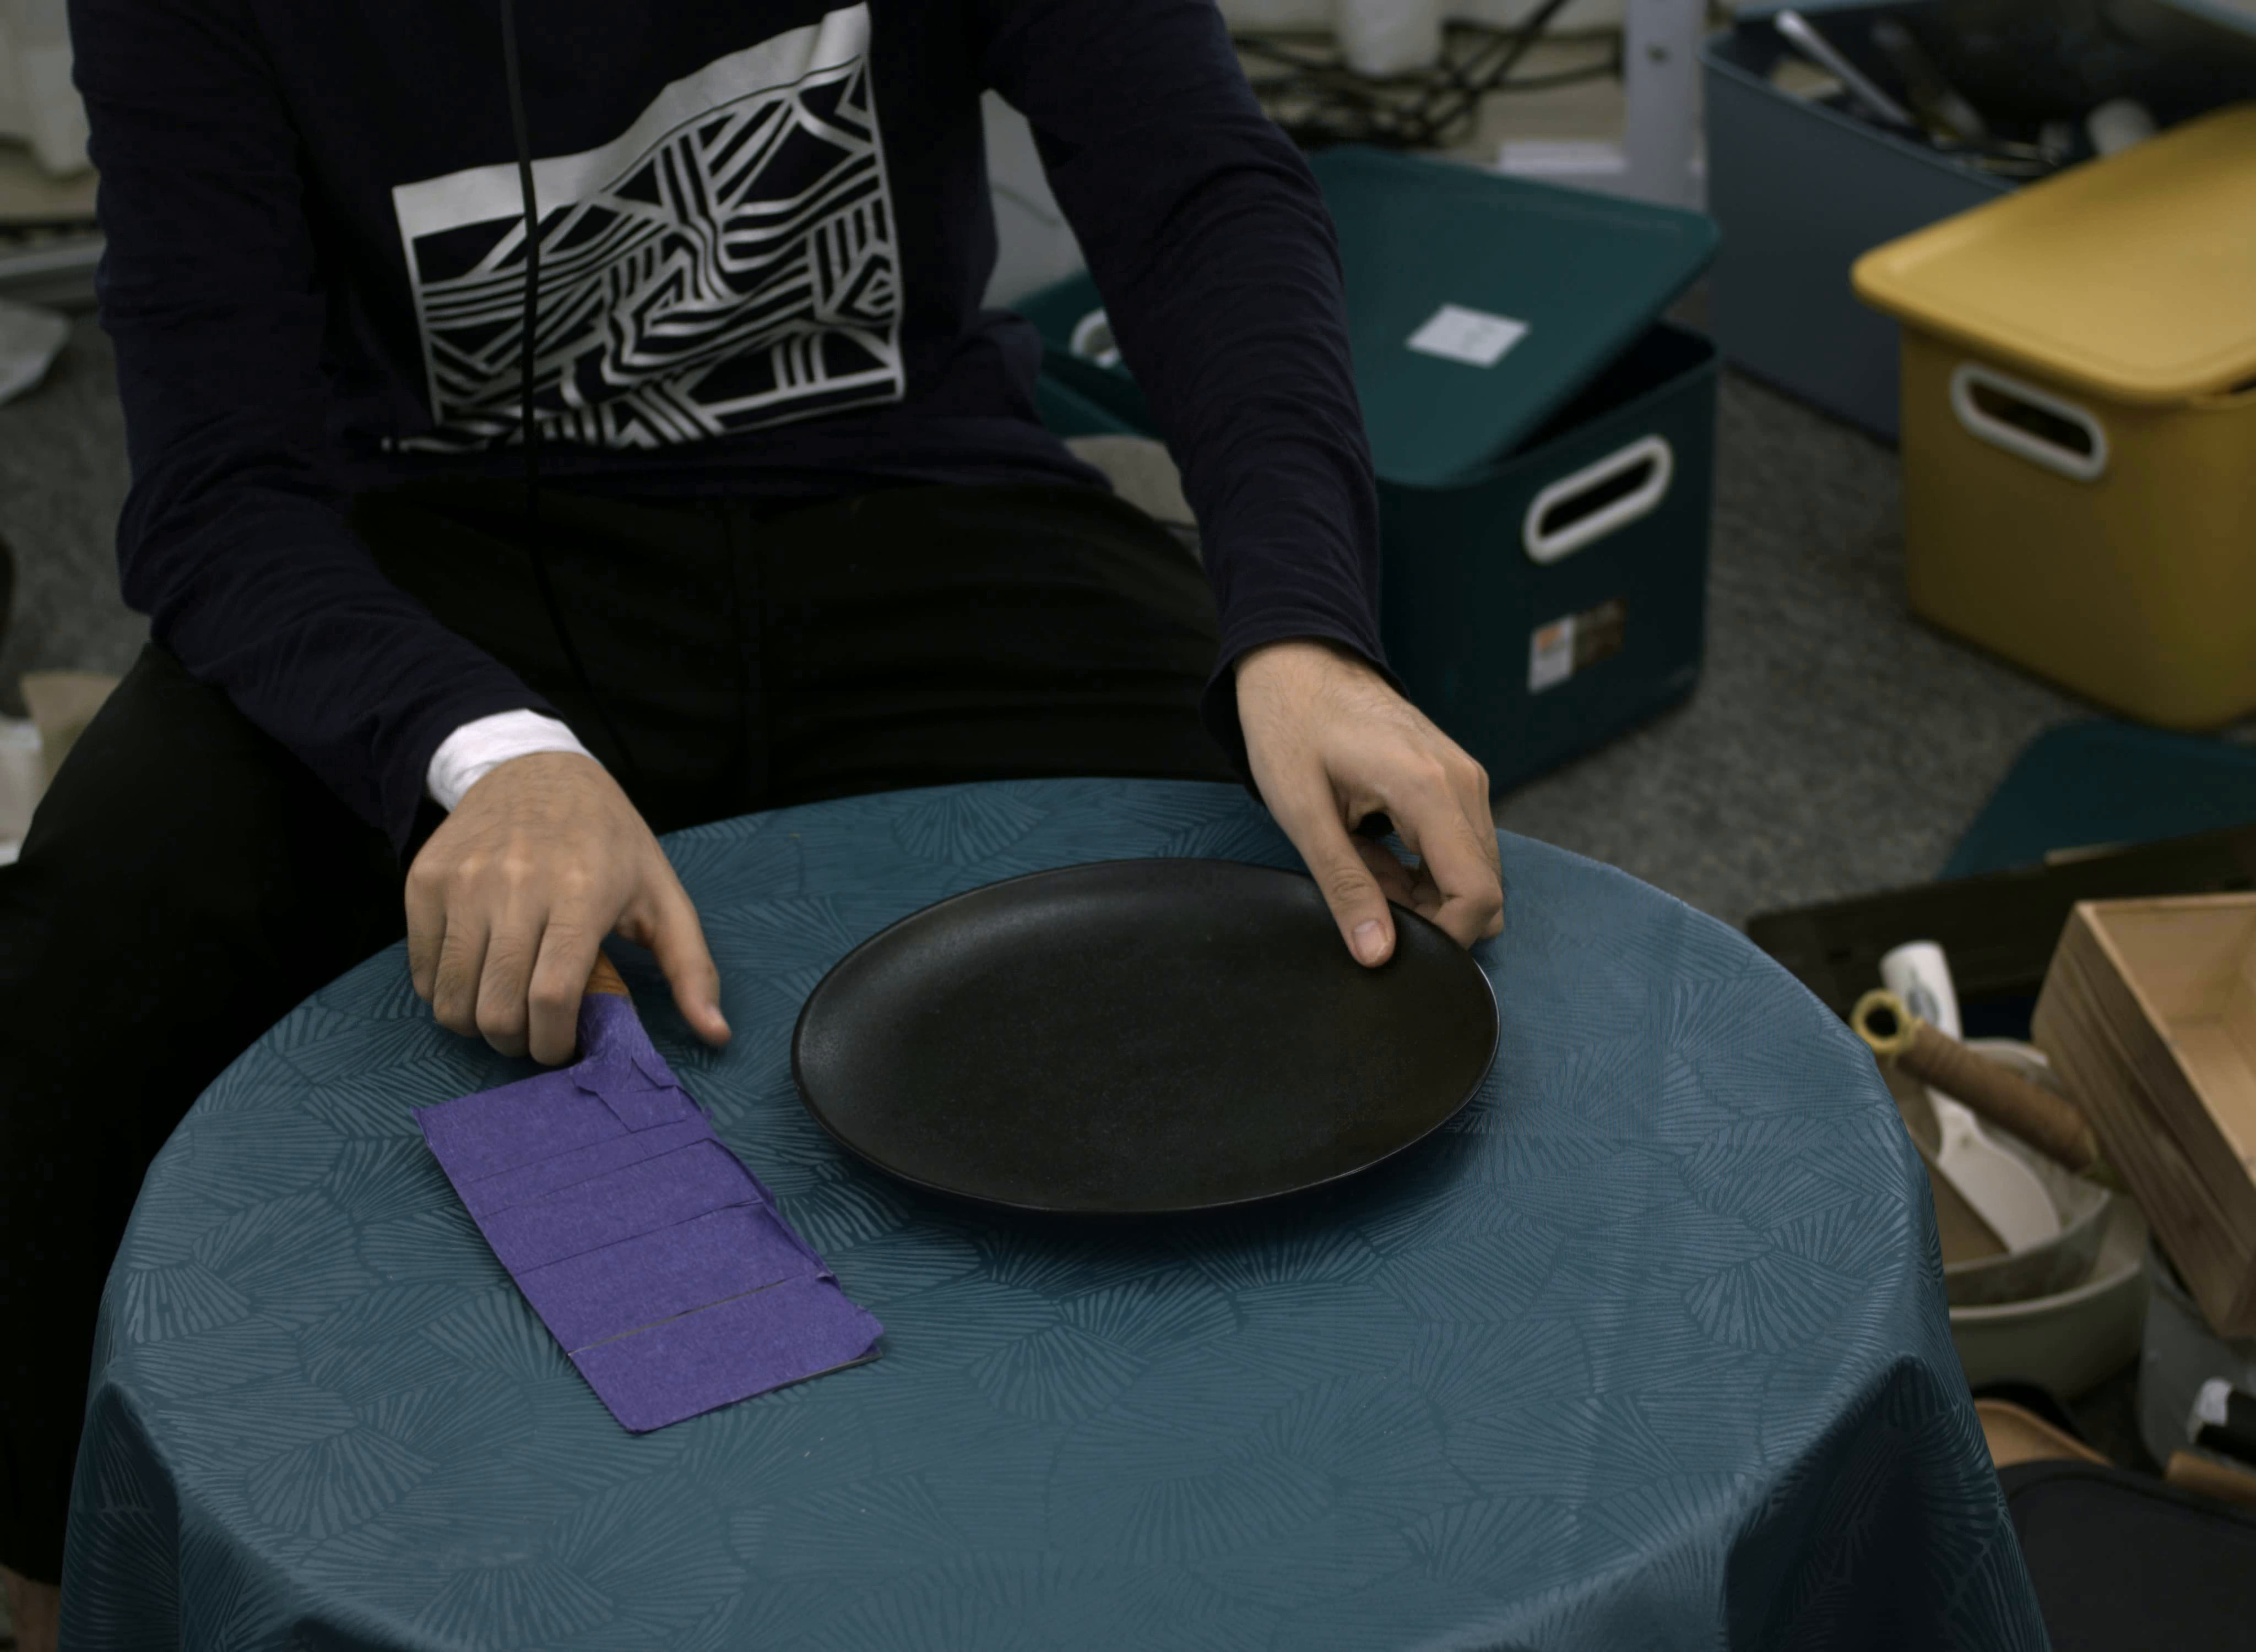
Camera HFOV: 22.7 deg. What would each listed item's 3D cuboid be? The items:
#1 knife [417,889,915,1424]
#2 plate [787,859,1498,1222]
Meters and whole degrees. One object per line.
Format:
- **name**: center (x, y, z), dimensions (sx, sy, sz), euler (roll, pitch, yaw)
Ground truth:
- **knife**: center (-0.181, 0.106, 1.879), dimensions (0.104, 0.032, 0.317), euler (-15, 30, -22)
- **plate**: center (0.005, 0.077, 1.922), dimensions (0.243, 0.023, 0.248), euler (-2, 27, 1)
